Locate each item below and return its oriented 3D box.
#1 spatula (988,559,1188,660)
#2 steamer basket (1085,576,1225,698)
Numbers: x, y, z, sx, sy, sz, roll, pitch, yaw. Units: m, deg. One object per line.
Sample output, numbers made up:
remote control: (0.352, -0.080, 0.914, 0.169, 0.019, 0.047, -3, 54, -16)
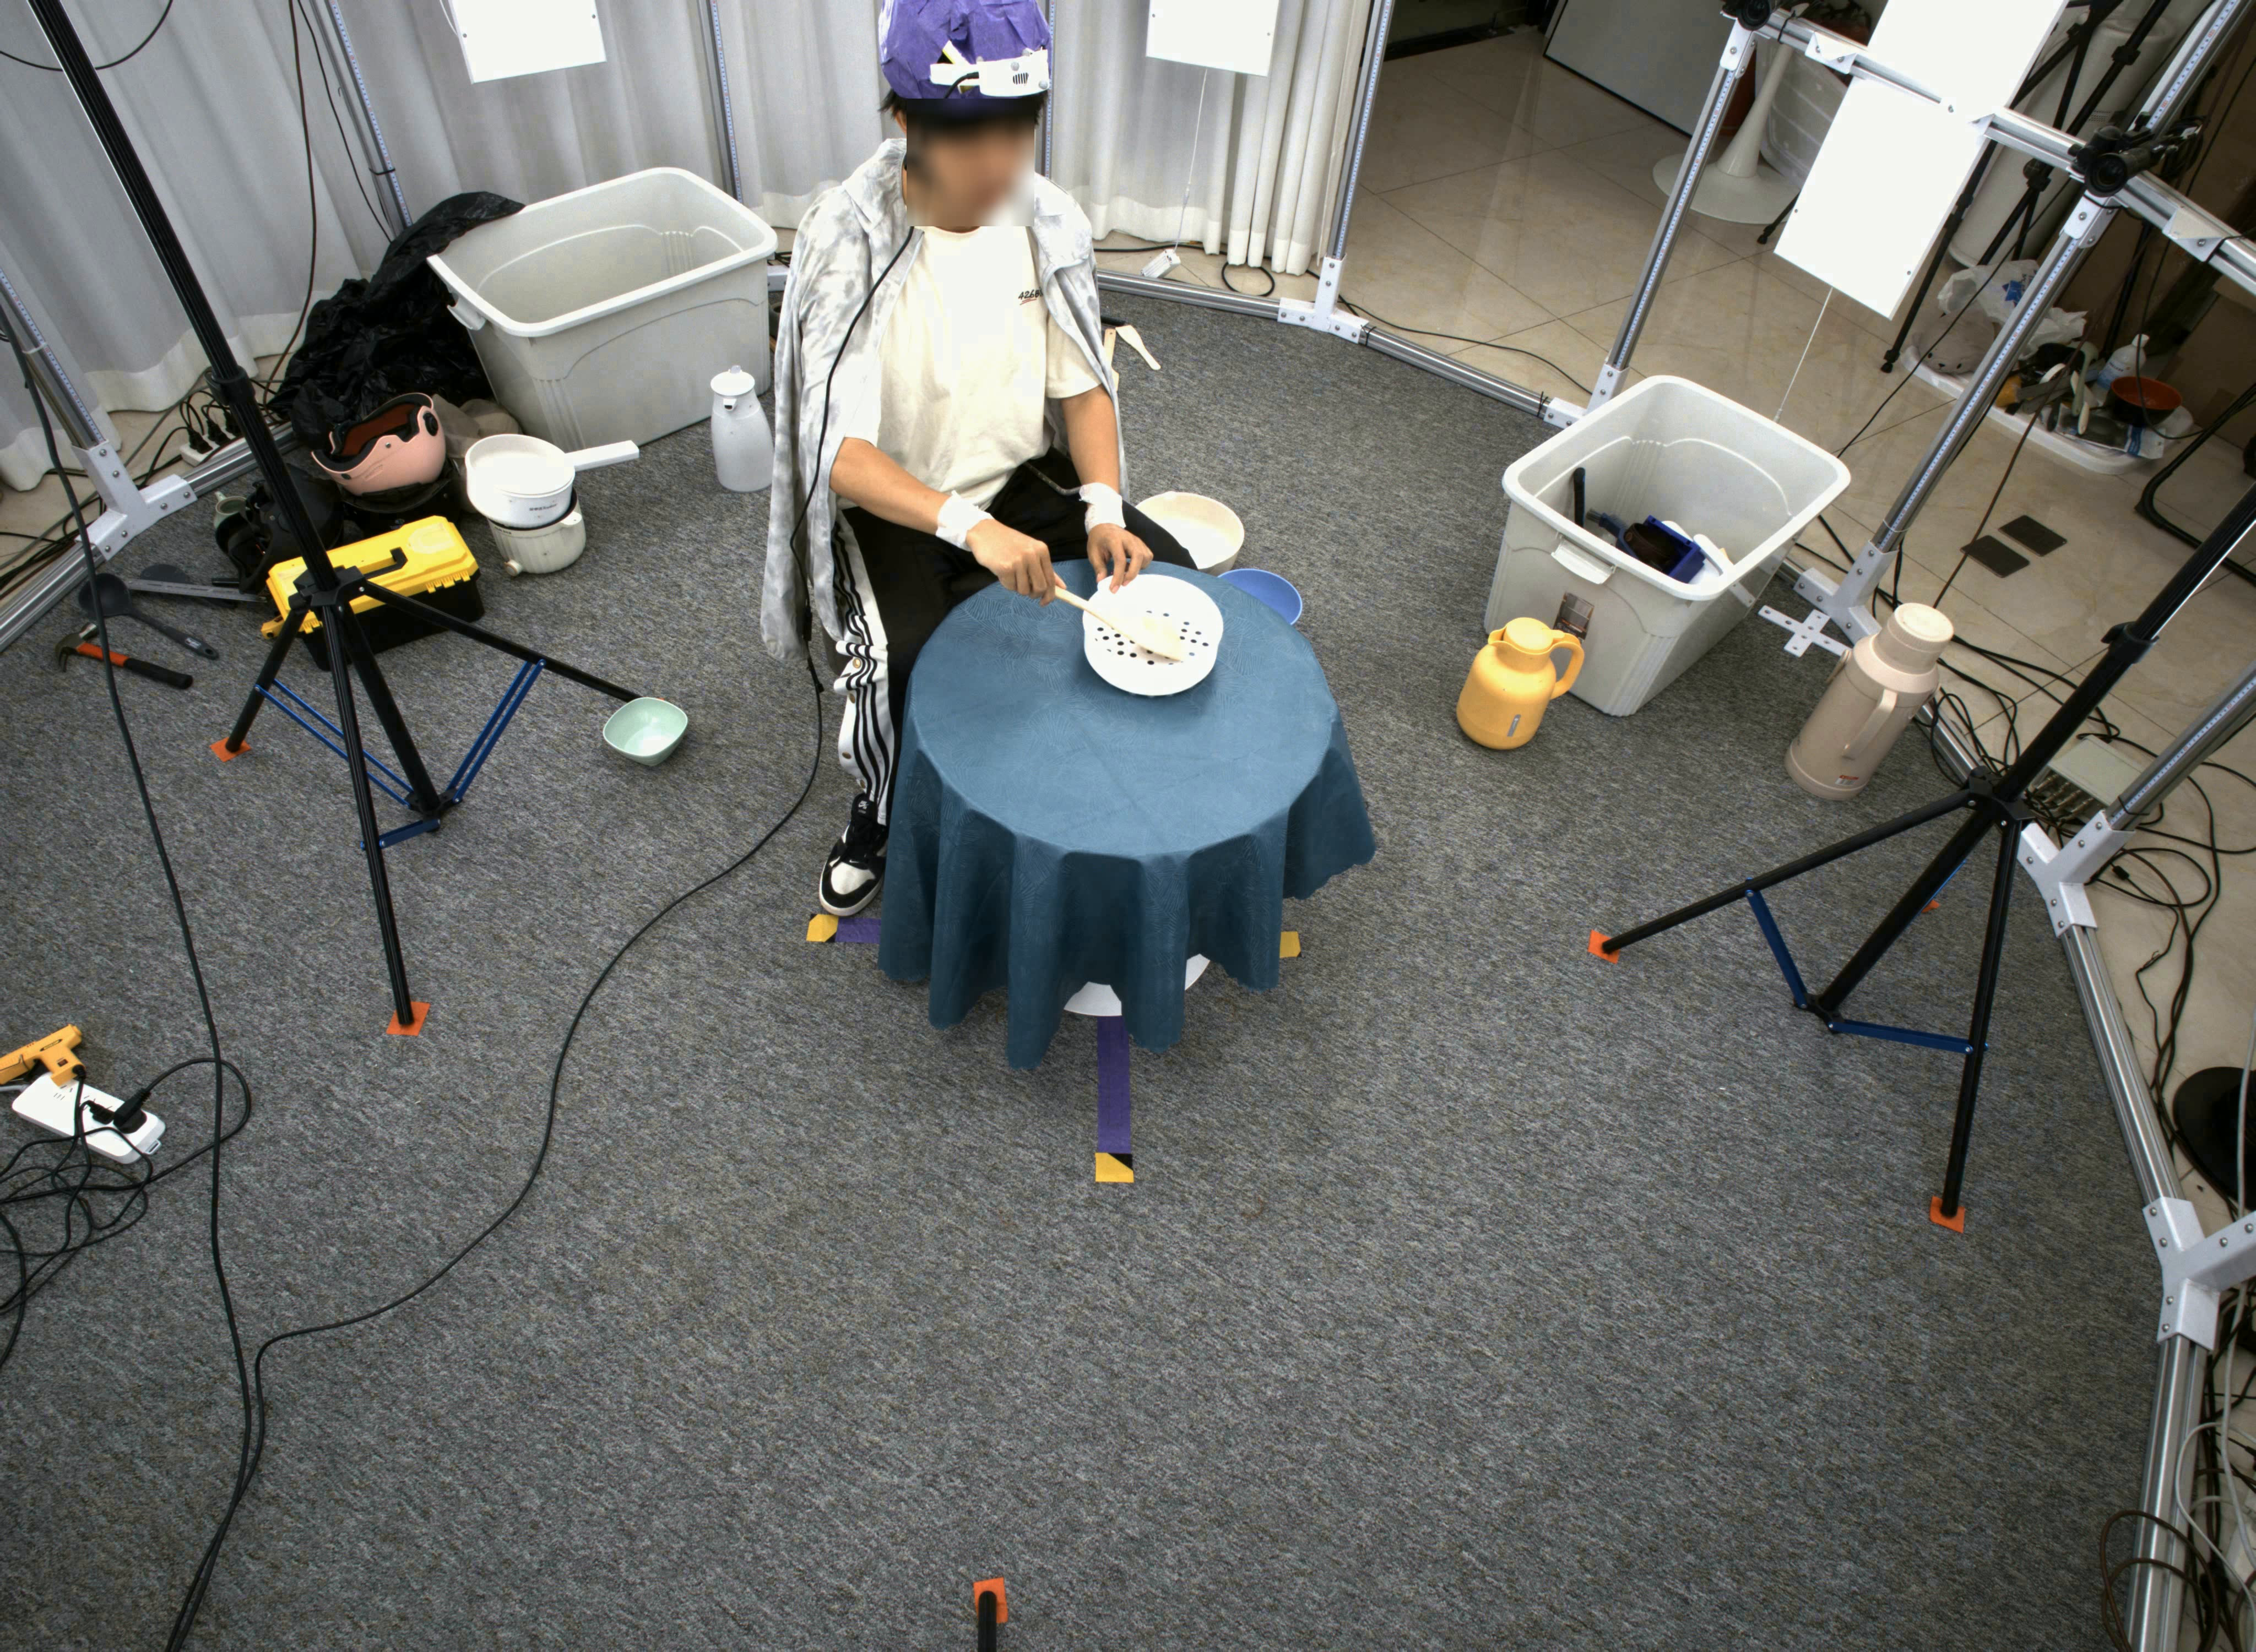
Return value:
spatula: (-0.052, -0.309, 1.796, 0.324, 0.016, 0.082, 18, 45, -32)
steamer basket: (0.037, -0.271, 1.857, 0.202, 0.067, 0.235, -21, 52, -22)
